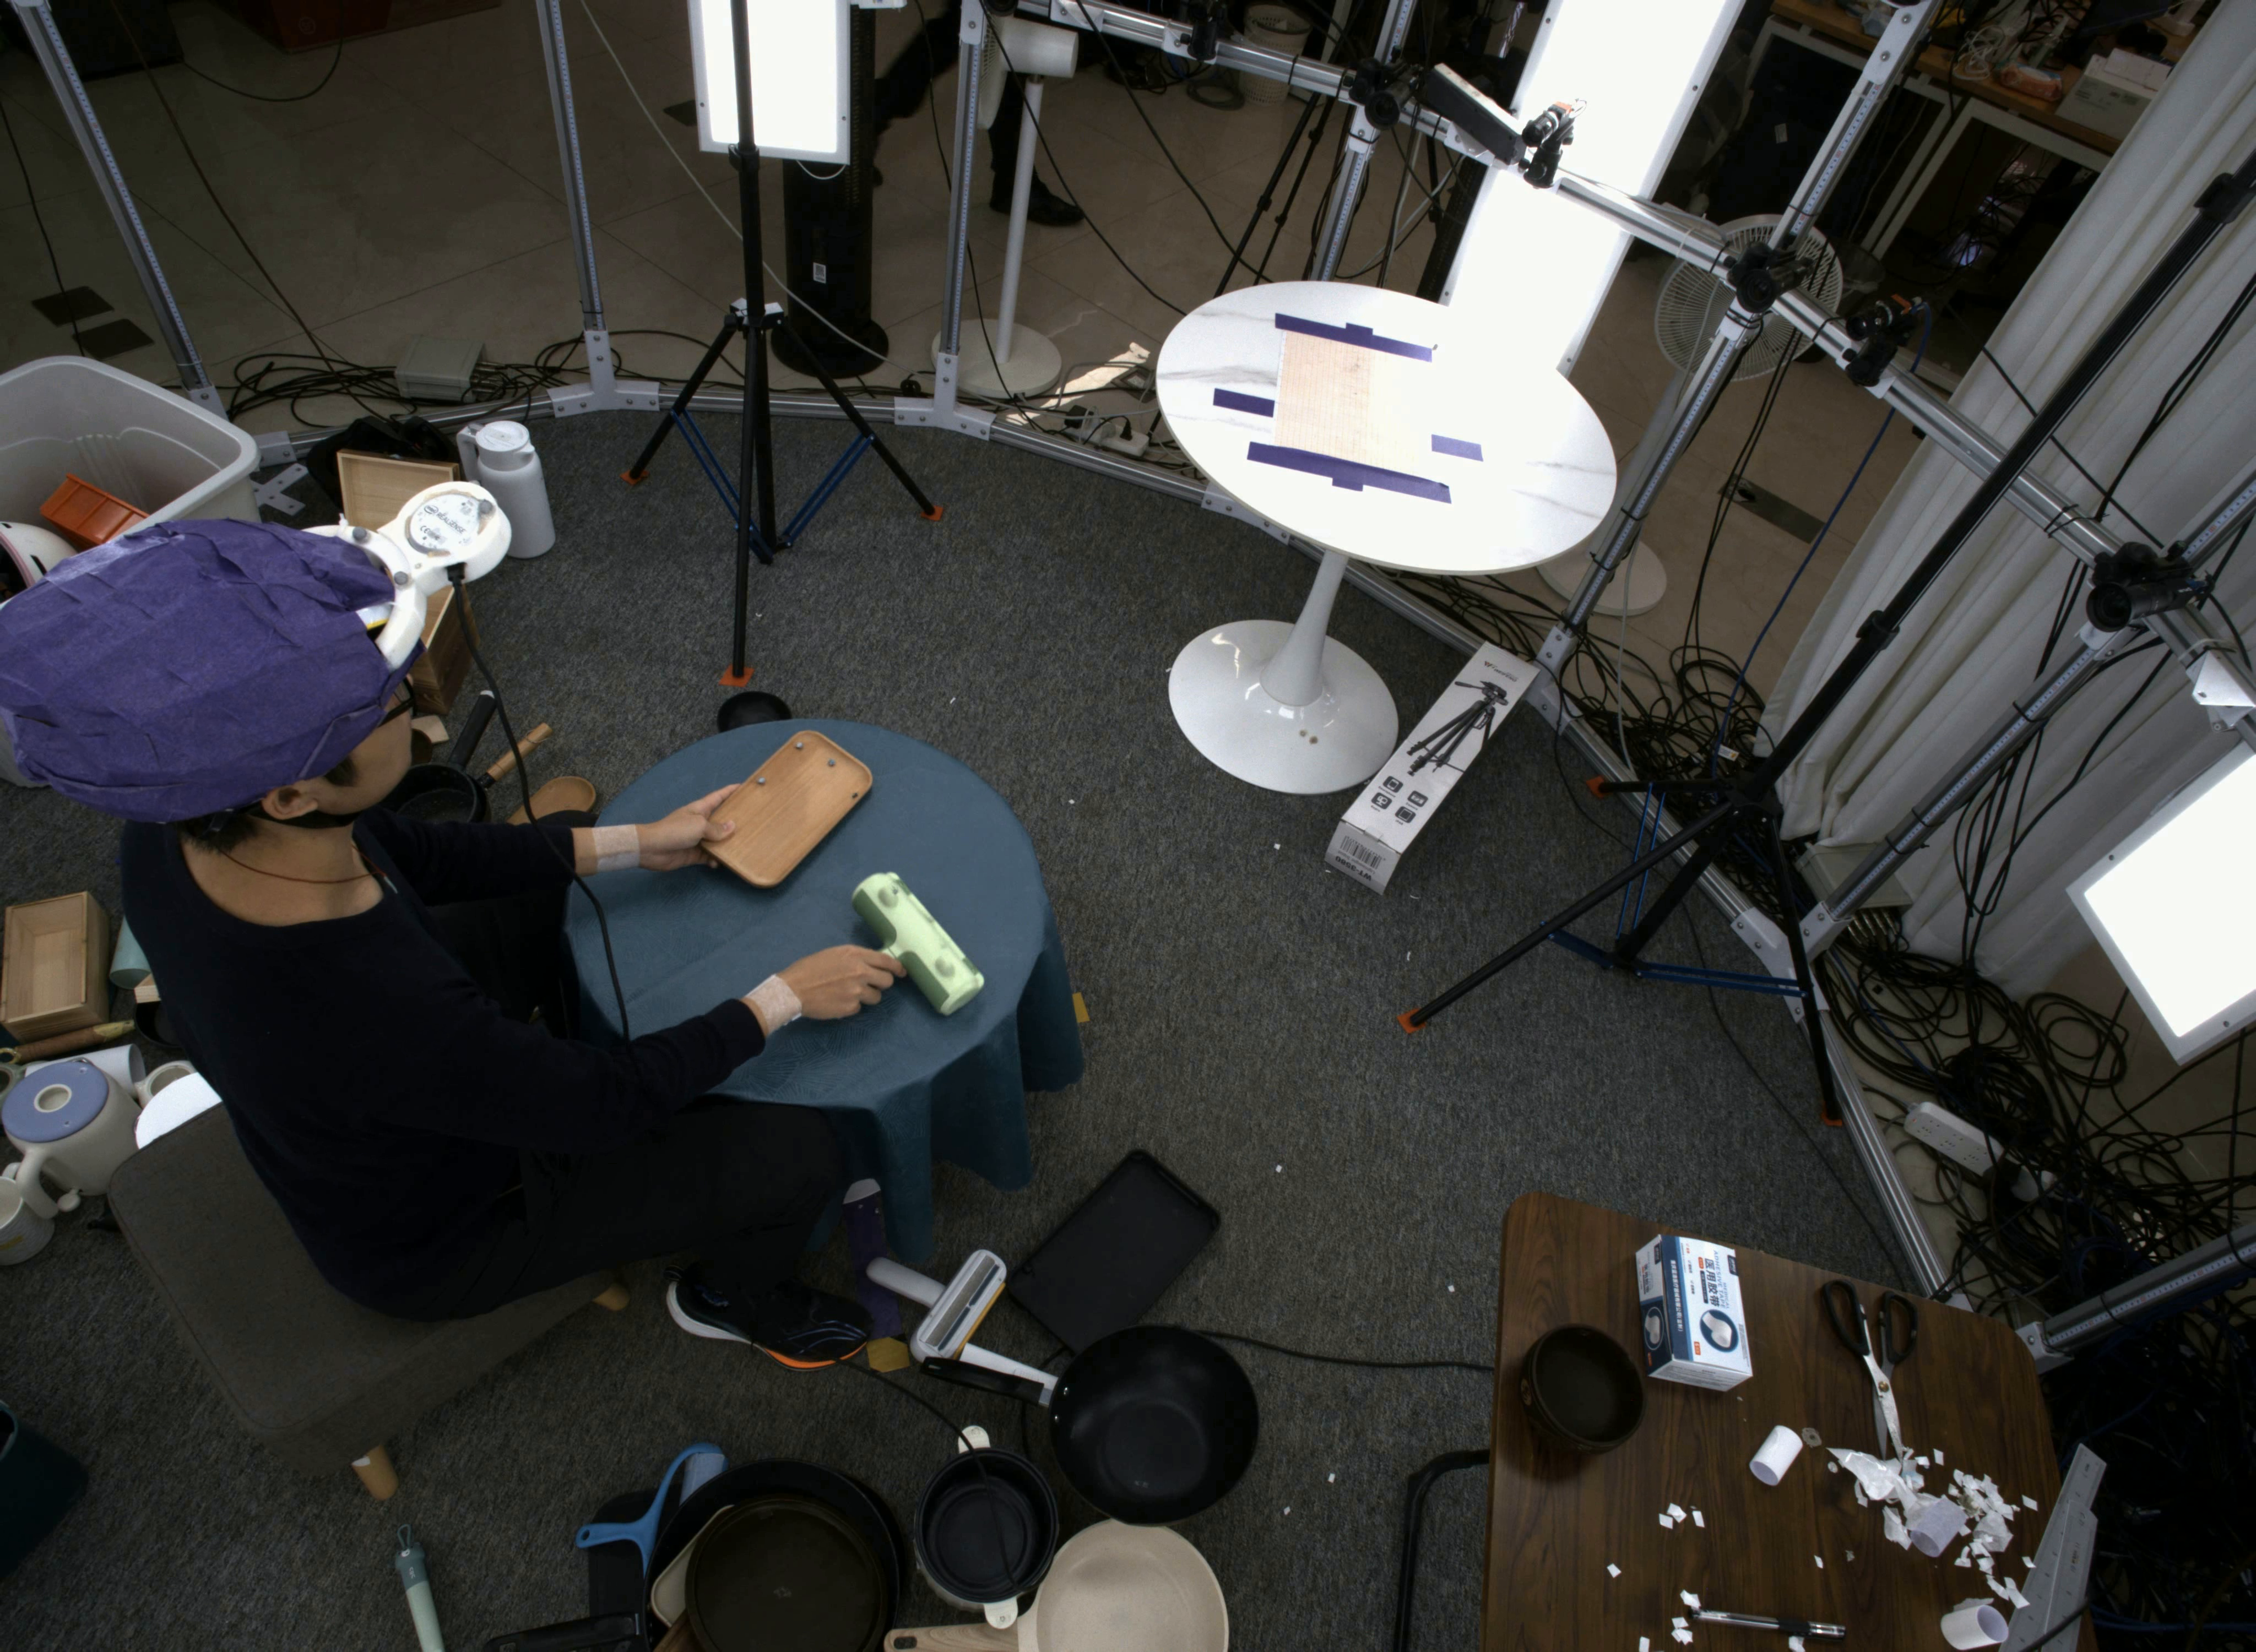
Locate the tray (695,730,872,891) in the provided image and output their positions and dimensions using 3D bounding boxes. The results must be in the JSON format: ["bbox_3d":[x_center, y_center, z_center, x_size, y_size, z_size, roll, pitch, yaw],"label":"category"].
[{"bbox_3d":[-0.447,-0.024,1.693,0.130,0.023,0.249,36,50,0],"label":"tray"}]

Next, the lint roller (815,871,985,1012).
[{"bbox_3d":[-0.295,0.151,1.556,0.195,0.083,0.184,46,43,14],"label":"lint roller"}]
